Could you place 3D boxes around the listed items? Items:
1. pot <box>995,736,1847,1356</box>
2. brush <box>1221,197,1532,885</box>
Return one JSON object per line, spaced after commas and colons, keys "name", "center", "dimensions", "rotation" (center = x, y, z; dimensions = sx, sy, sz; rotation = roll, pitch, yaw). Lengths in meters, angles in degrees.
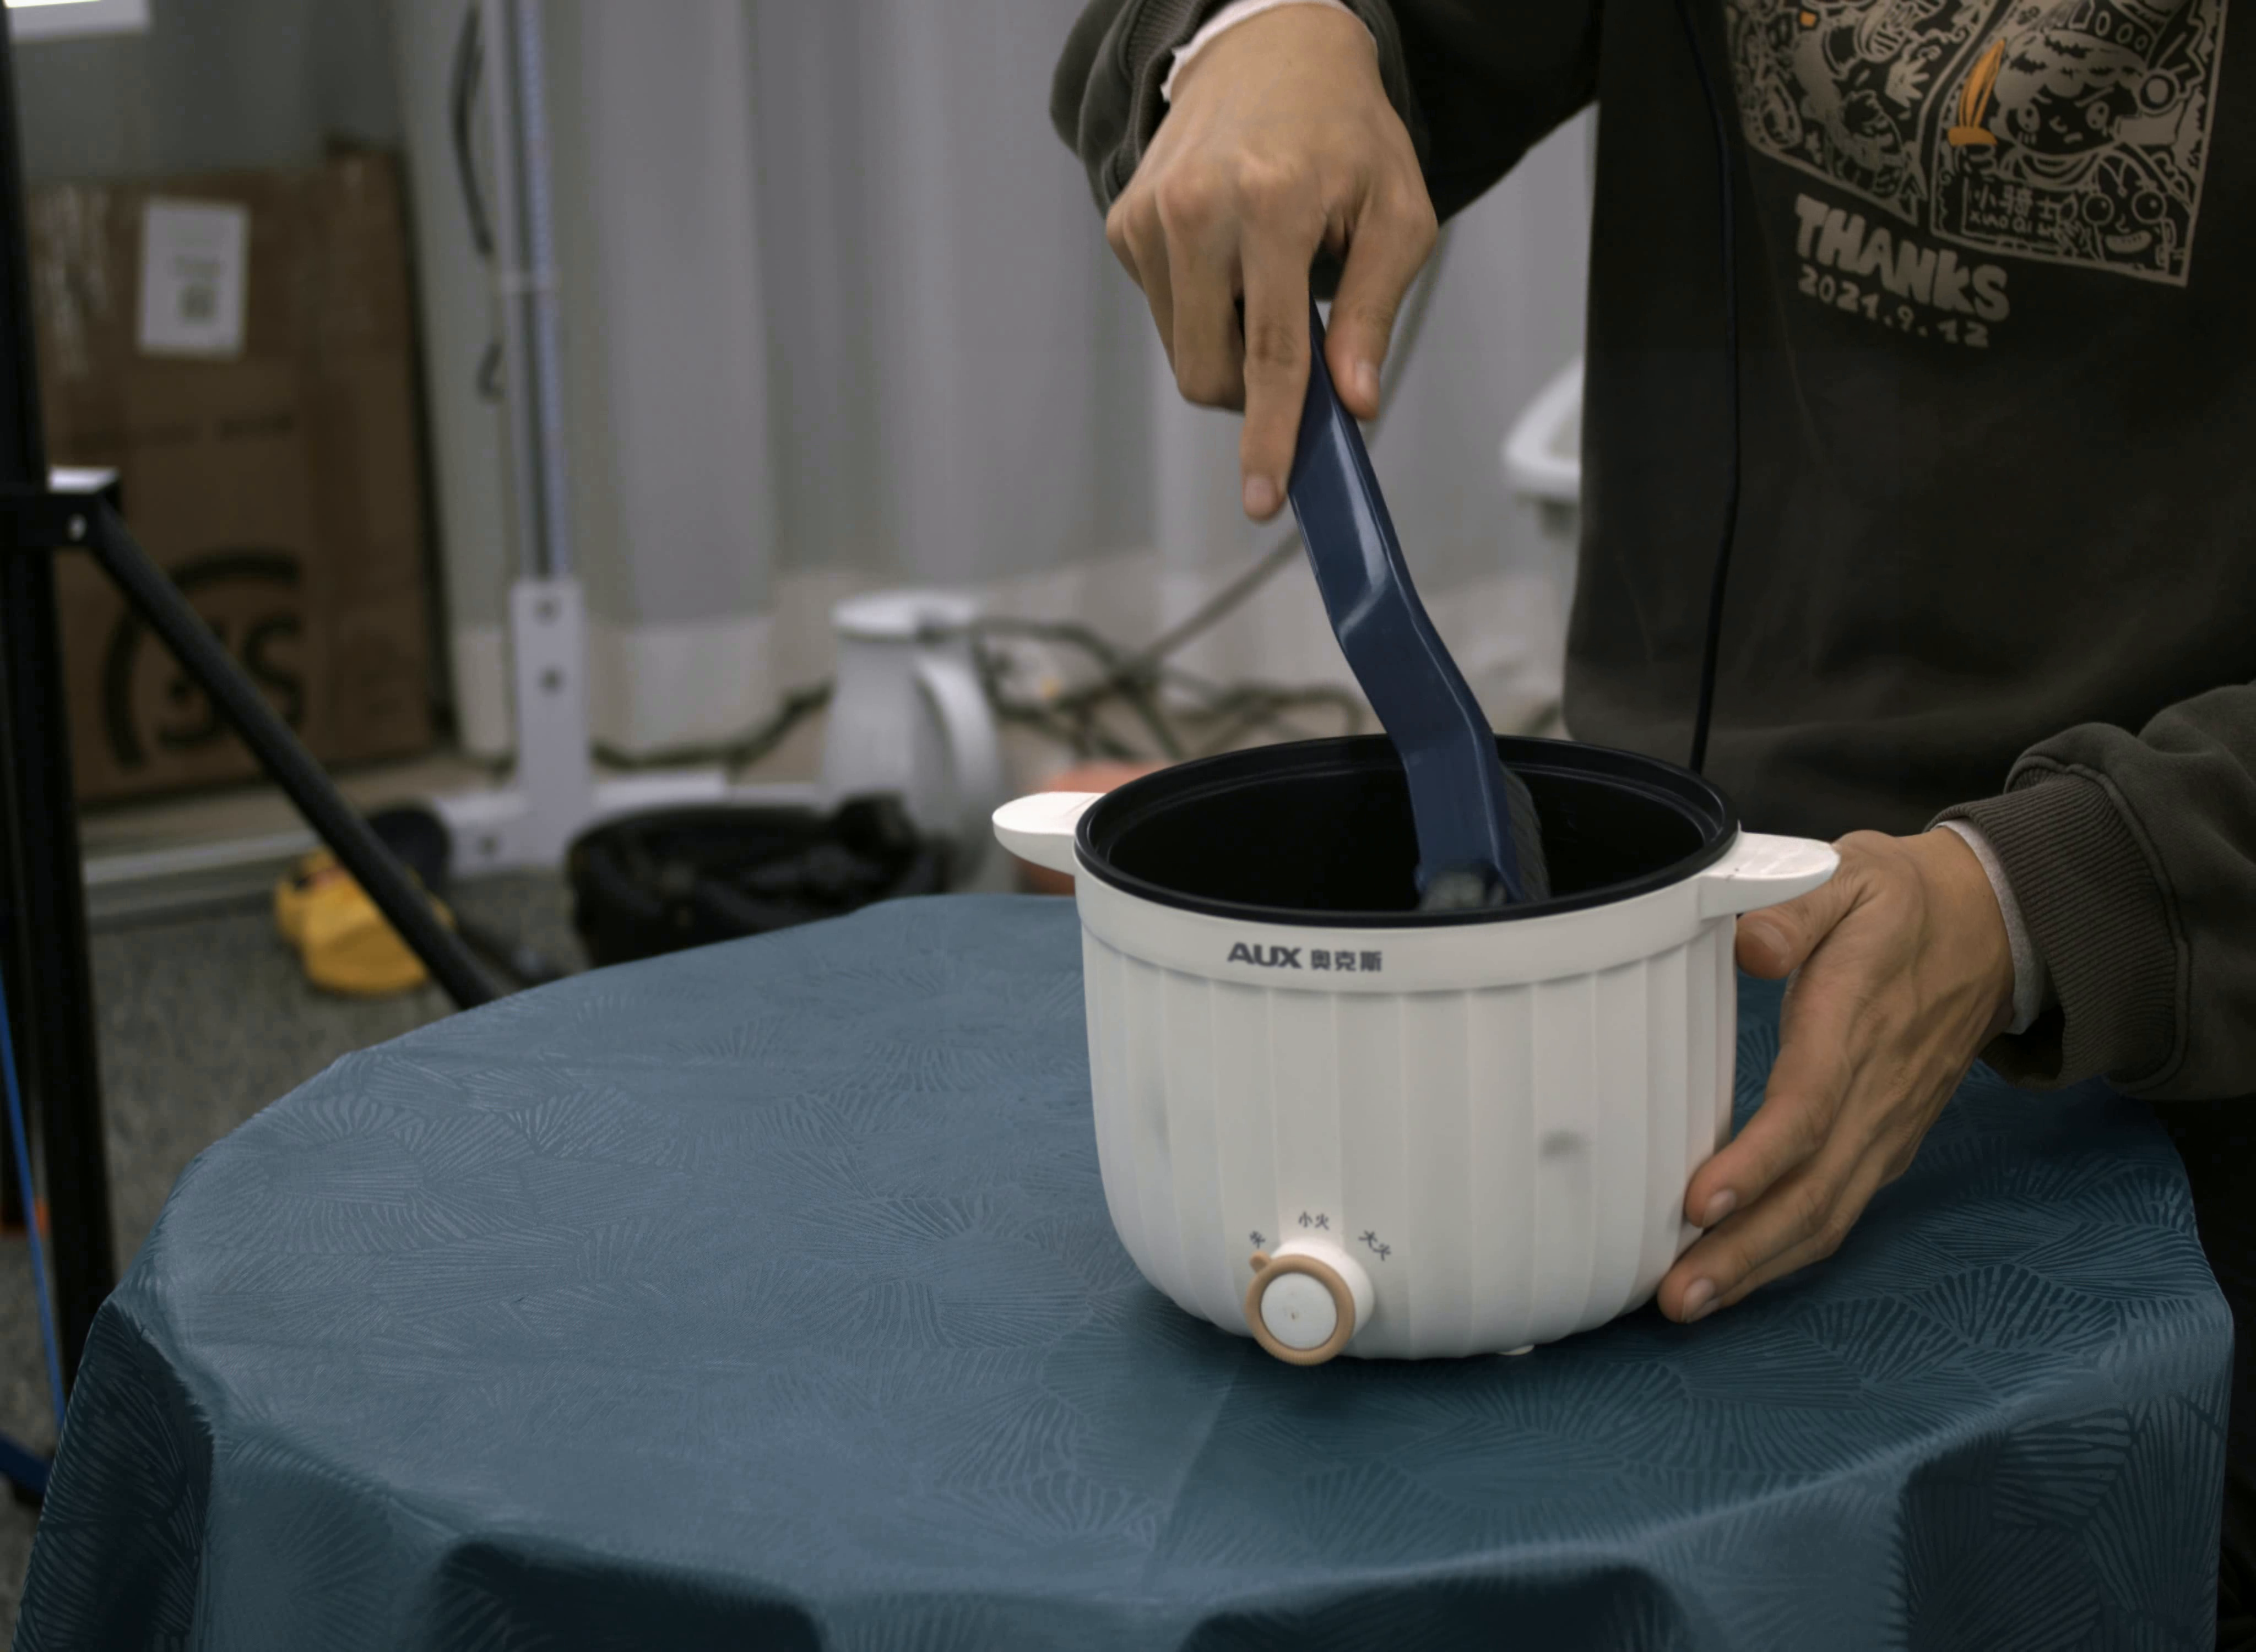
{"name": "pot", "center": [0.078, 0.063, 1.452], "dimensions": [0.243, 0.143, 0.188], "rotation": [2, 12, 21]}
{"name": "brush", "center": [0.065, -0.071, 1.509], "dimensions": [0.034, 0.277, 0.093], "rotation": [-34, -31, 24]}
